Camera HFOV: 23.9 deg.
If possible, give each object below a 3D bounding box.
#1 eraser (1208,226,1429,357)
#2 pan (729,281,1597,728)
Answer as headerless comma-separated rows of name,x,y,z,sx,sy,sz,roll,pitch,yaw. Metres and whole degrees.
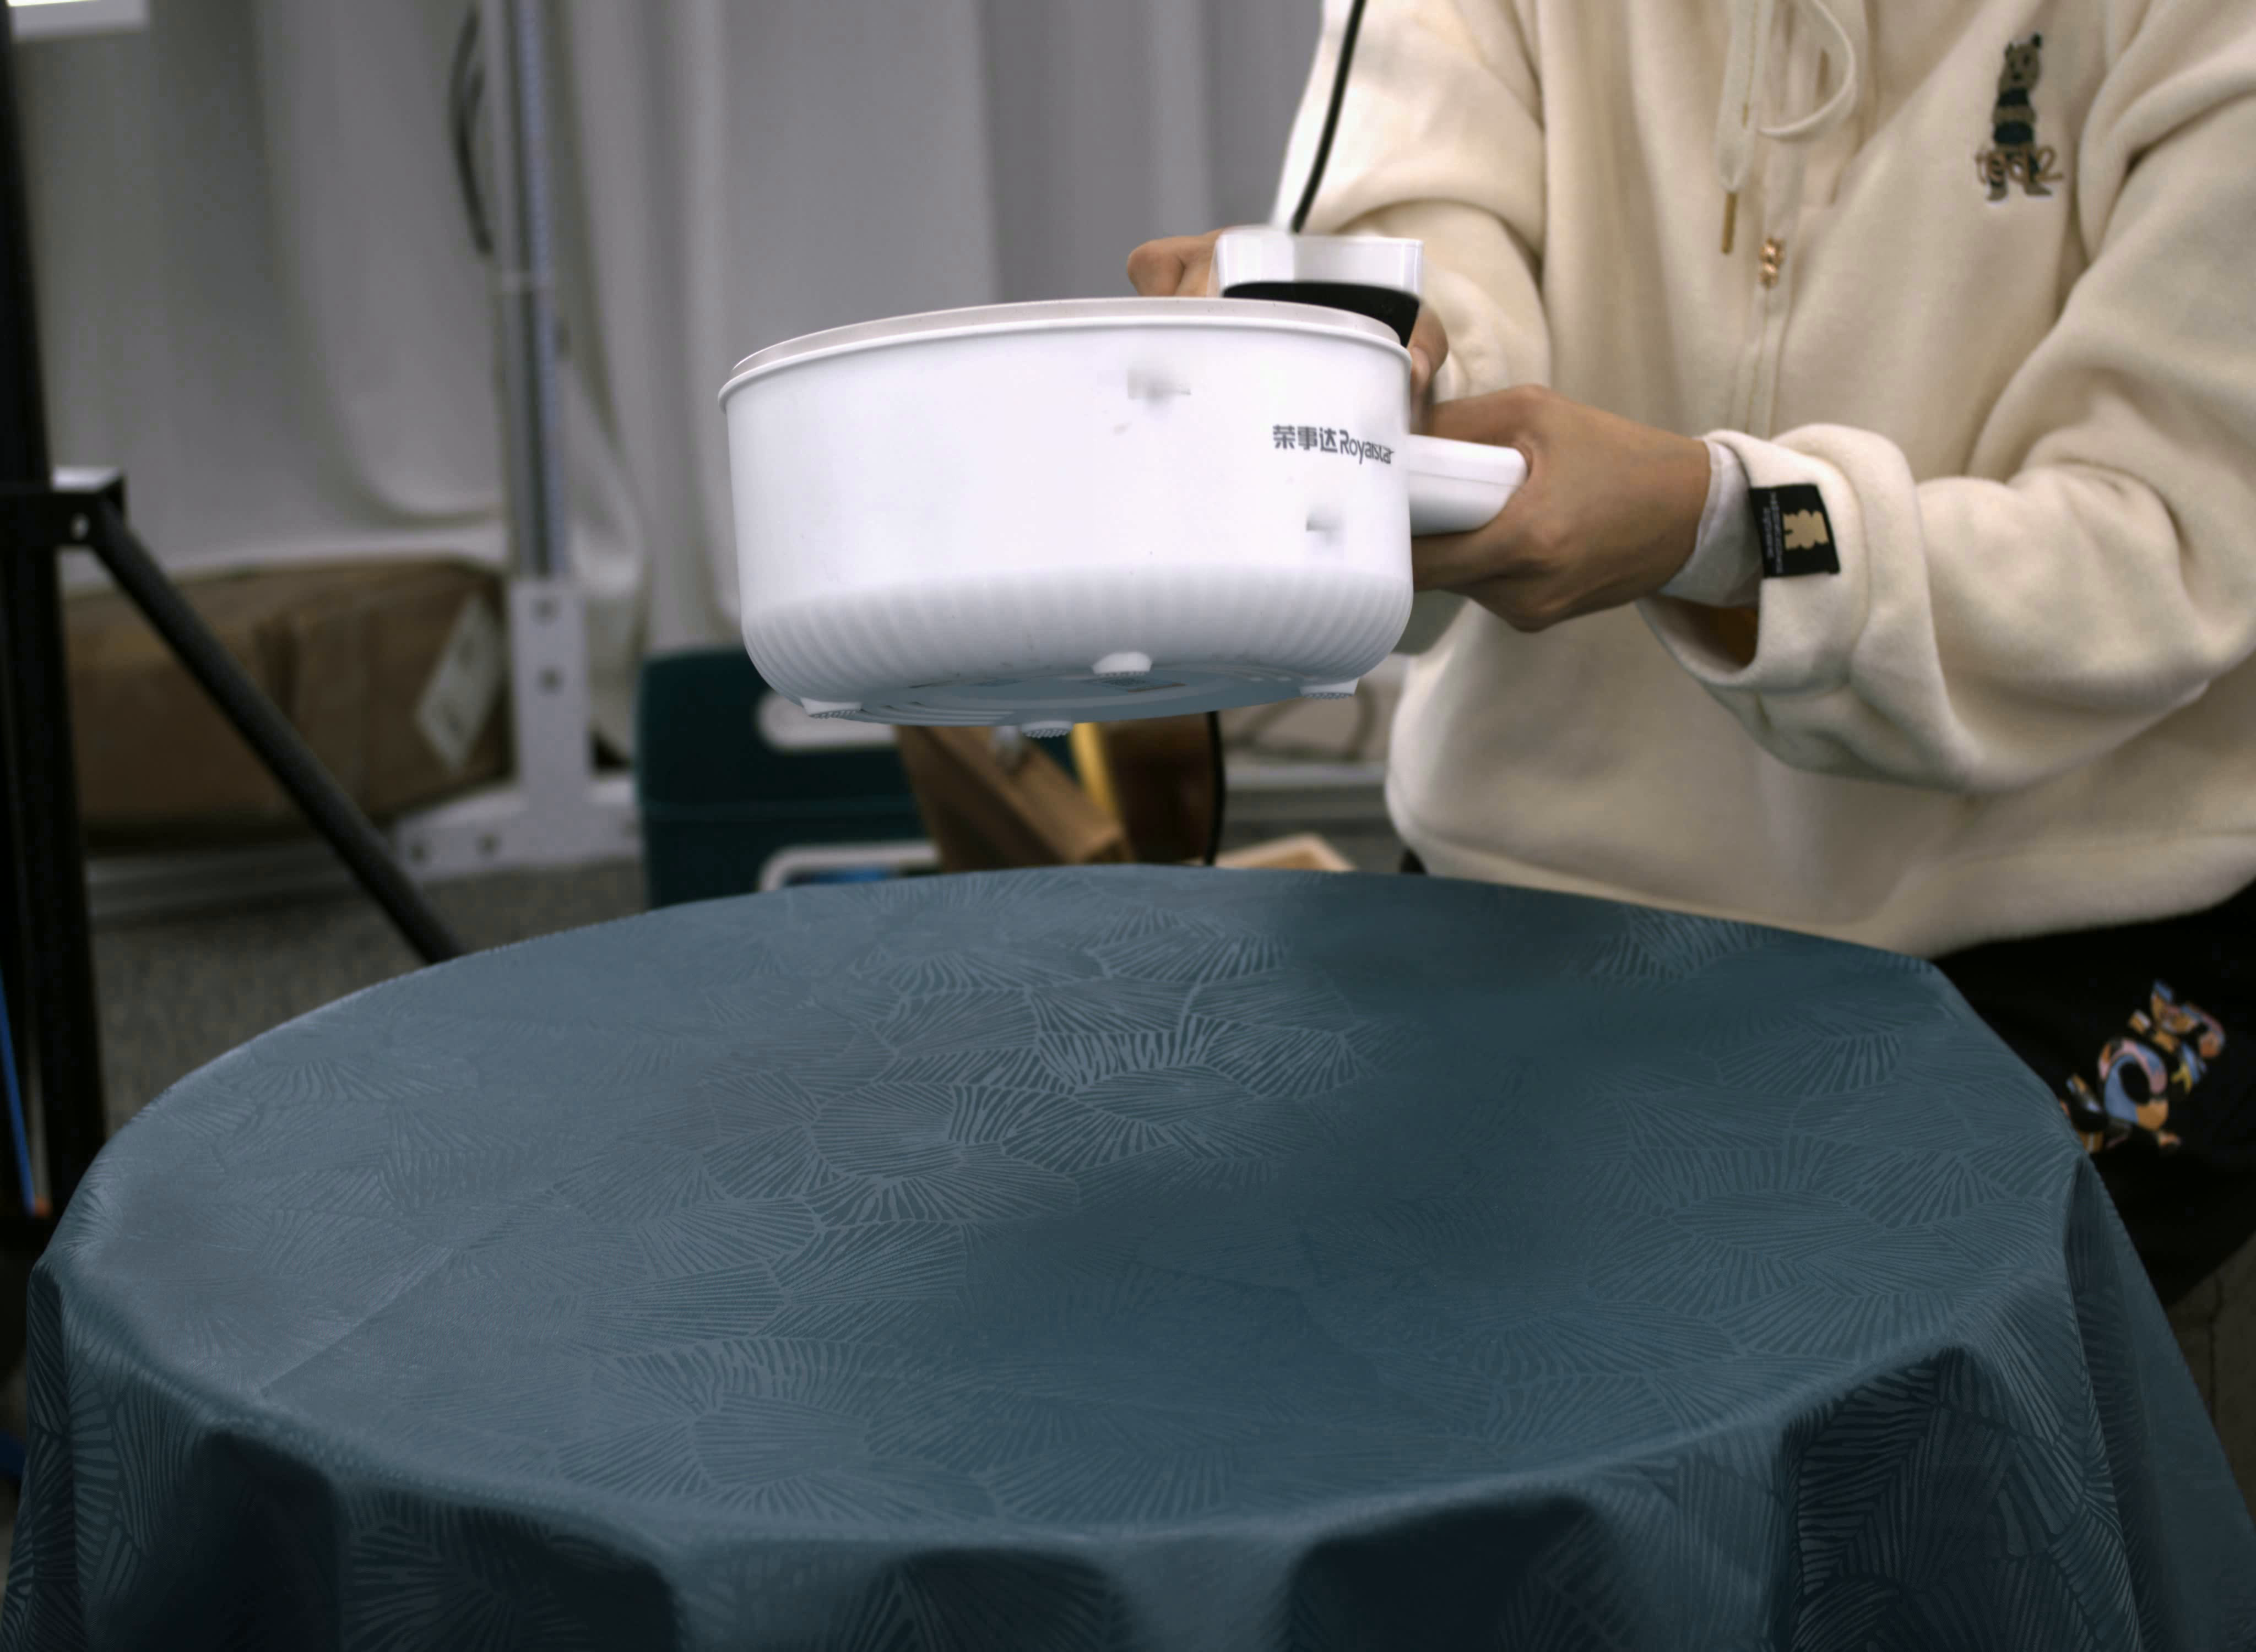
eraser,0.056,-0.151,1.582,0.063,0.035,0.131,3,-9,0
pan,0.031,-0.082,1.594,0.205,0.103,0.345,-5,-8,37
